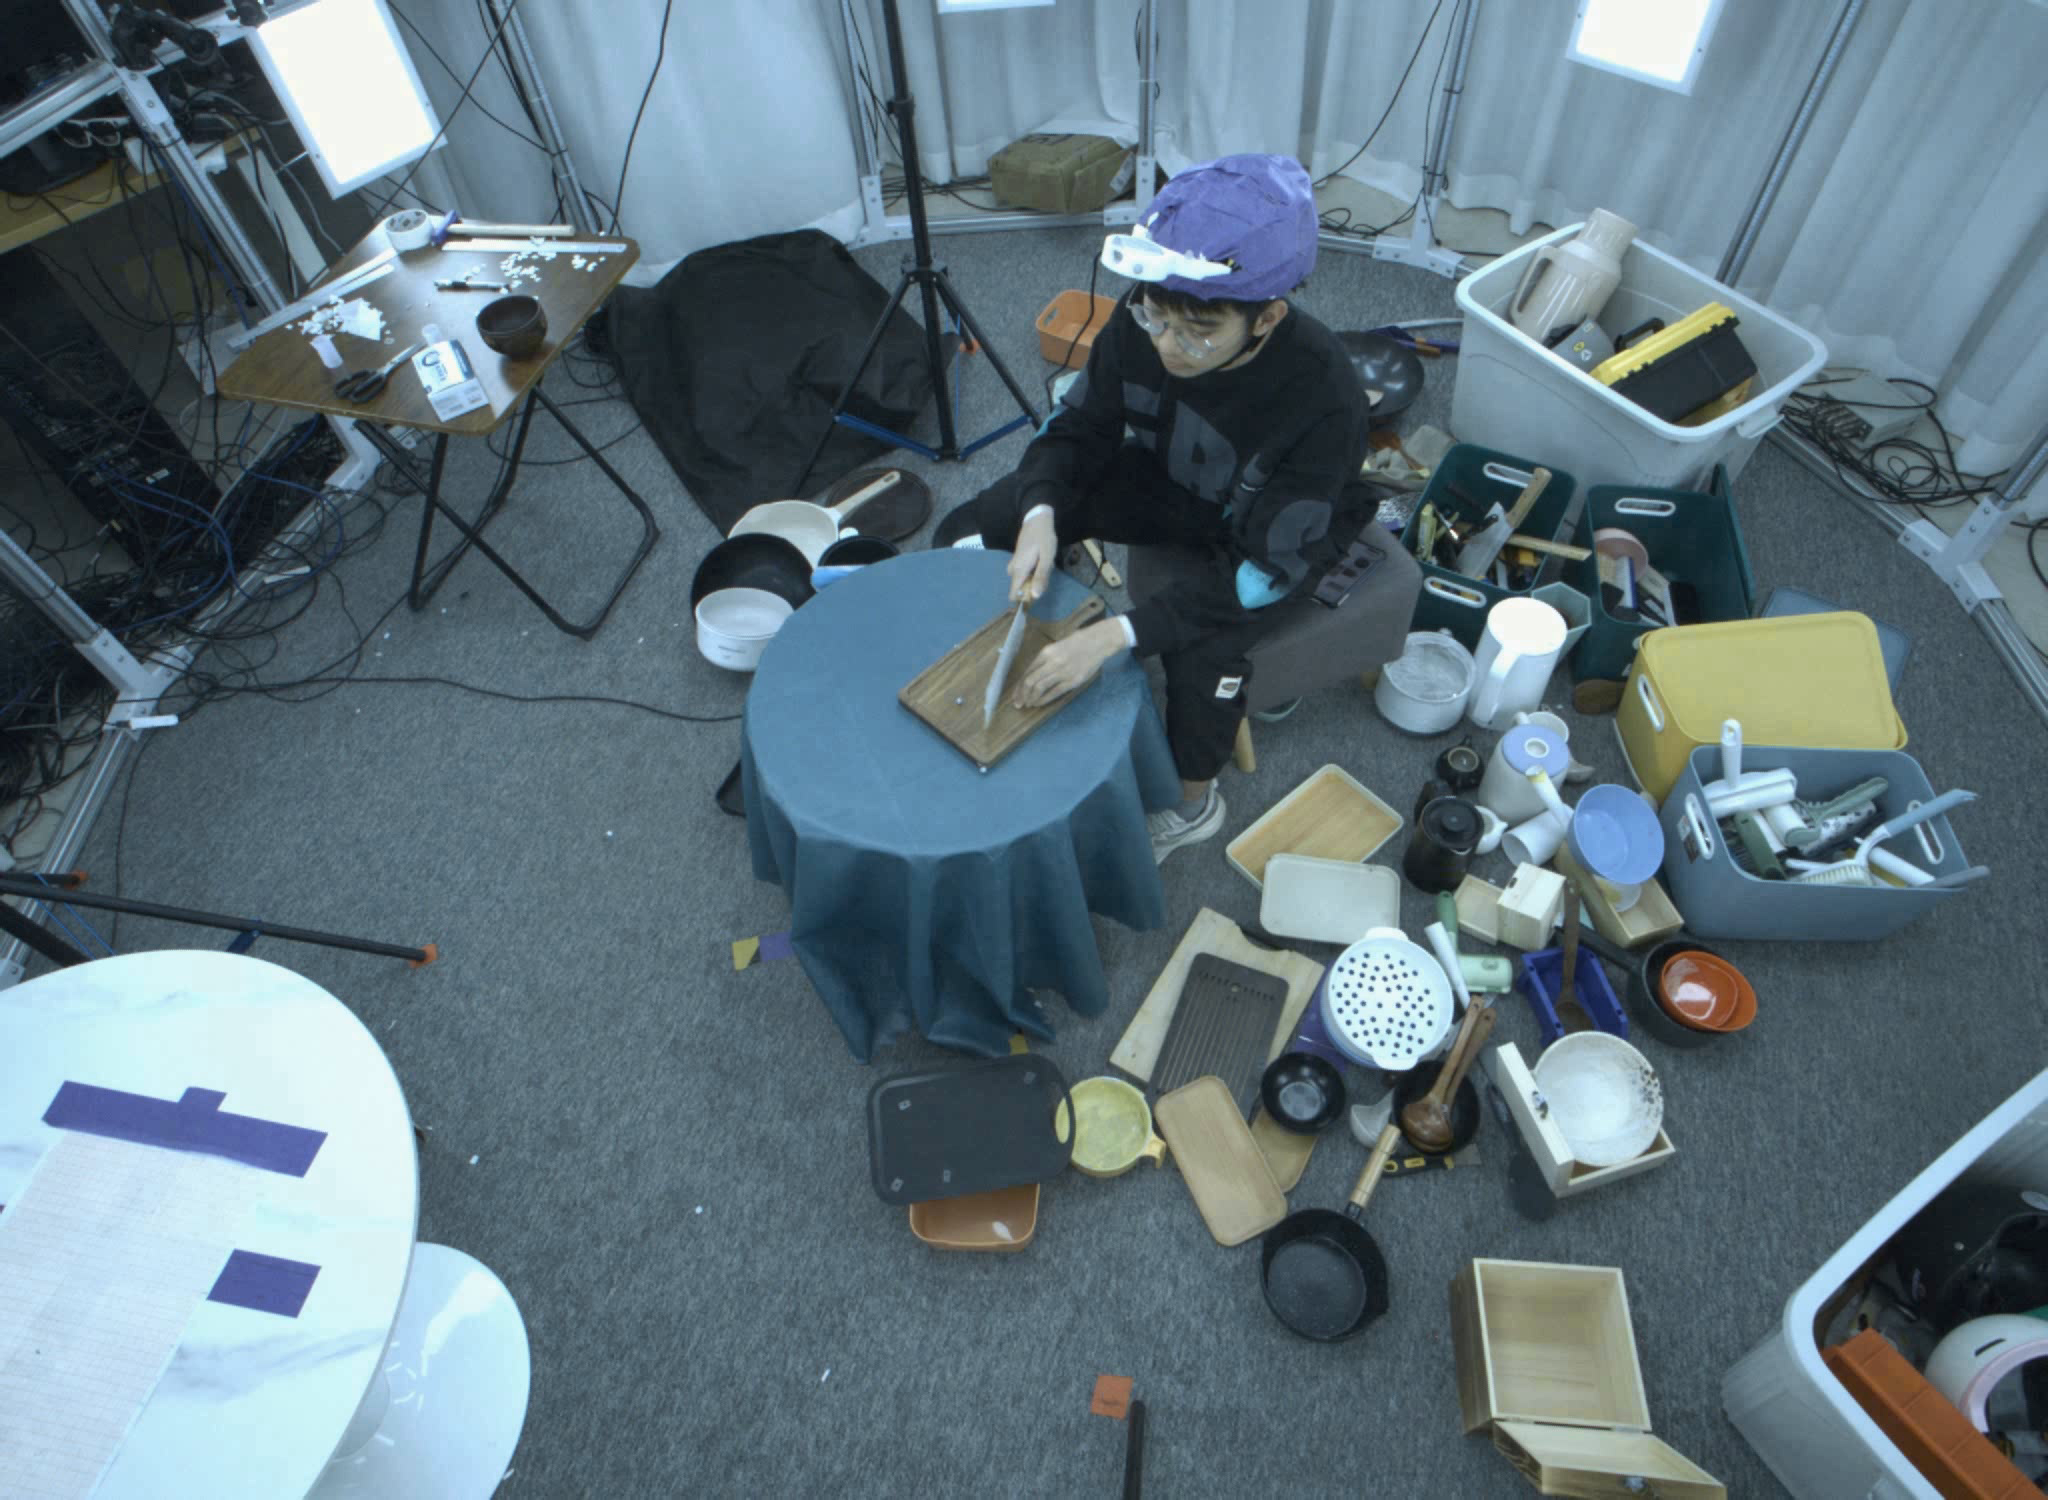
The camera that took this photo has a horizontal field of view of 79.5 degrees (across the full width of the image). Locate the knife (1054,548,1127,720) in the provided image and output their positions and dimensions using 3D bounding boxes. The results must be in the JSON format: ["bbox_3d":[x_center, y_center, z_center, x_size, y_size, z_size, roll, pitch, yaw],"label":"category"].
[{"bbox_3d":[0.096,-0.172,1.825,0.021,0.093,0.305,18,57,10],"label":"knife"}]

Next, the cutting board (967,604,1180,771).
[{"bbox_3d":[0.106,-0.123,1.861,0.355,0.023,0.197,-35,62,-23],"label":"cutting board"}]
